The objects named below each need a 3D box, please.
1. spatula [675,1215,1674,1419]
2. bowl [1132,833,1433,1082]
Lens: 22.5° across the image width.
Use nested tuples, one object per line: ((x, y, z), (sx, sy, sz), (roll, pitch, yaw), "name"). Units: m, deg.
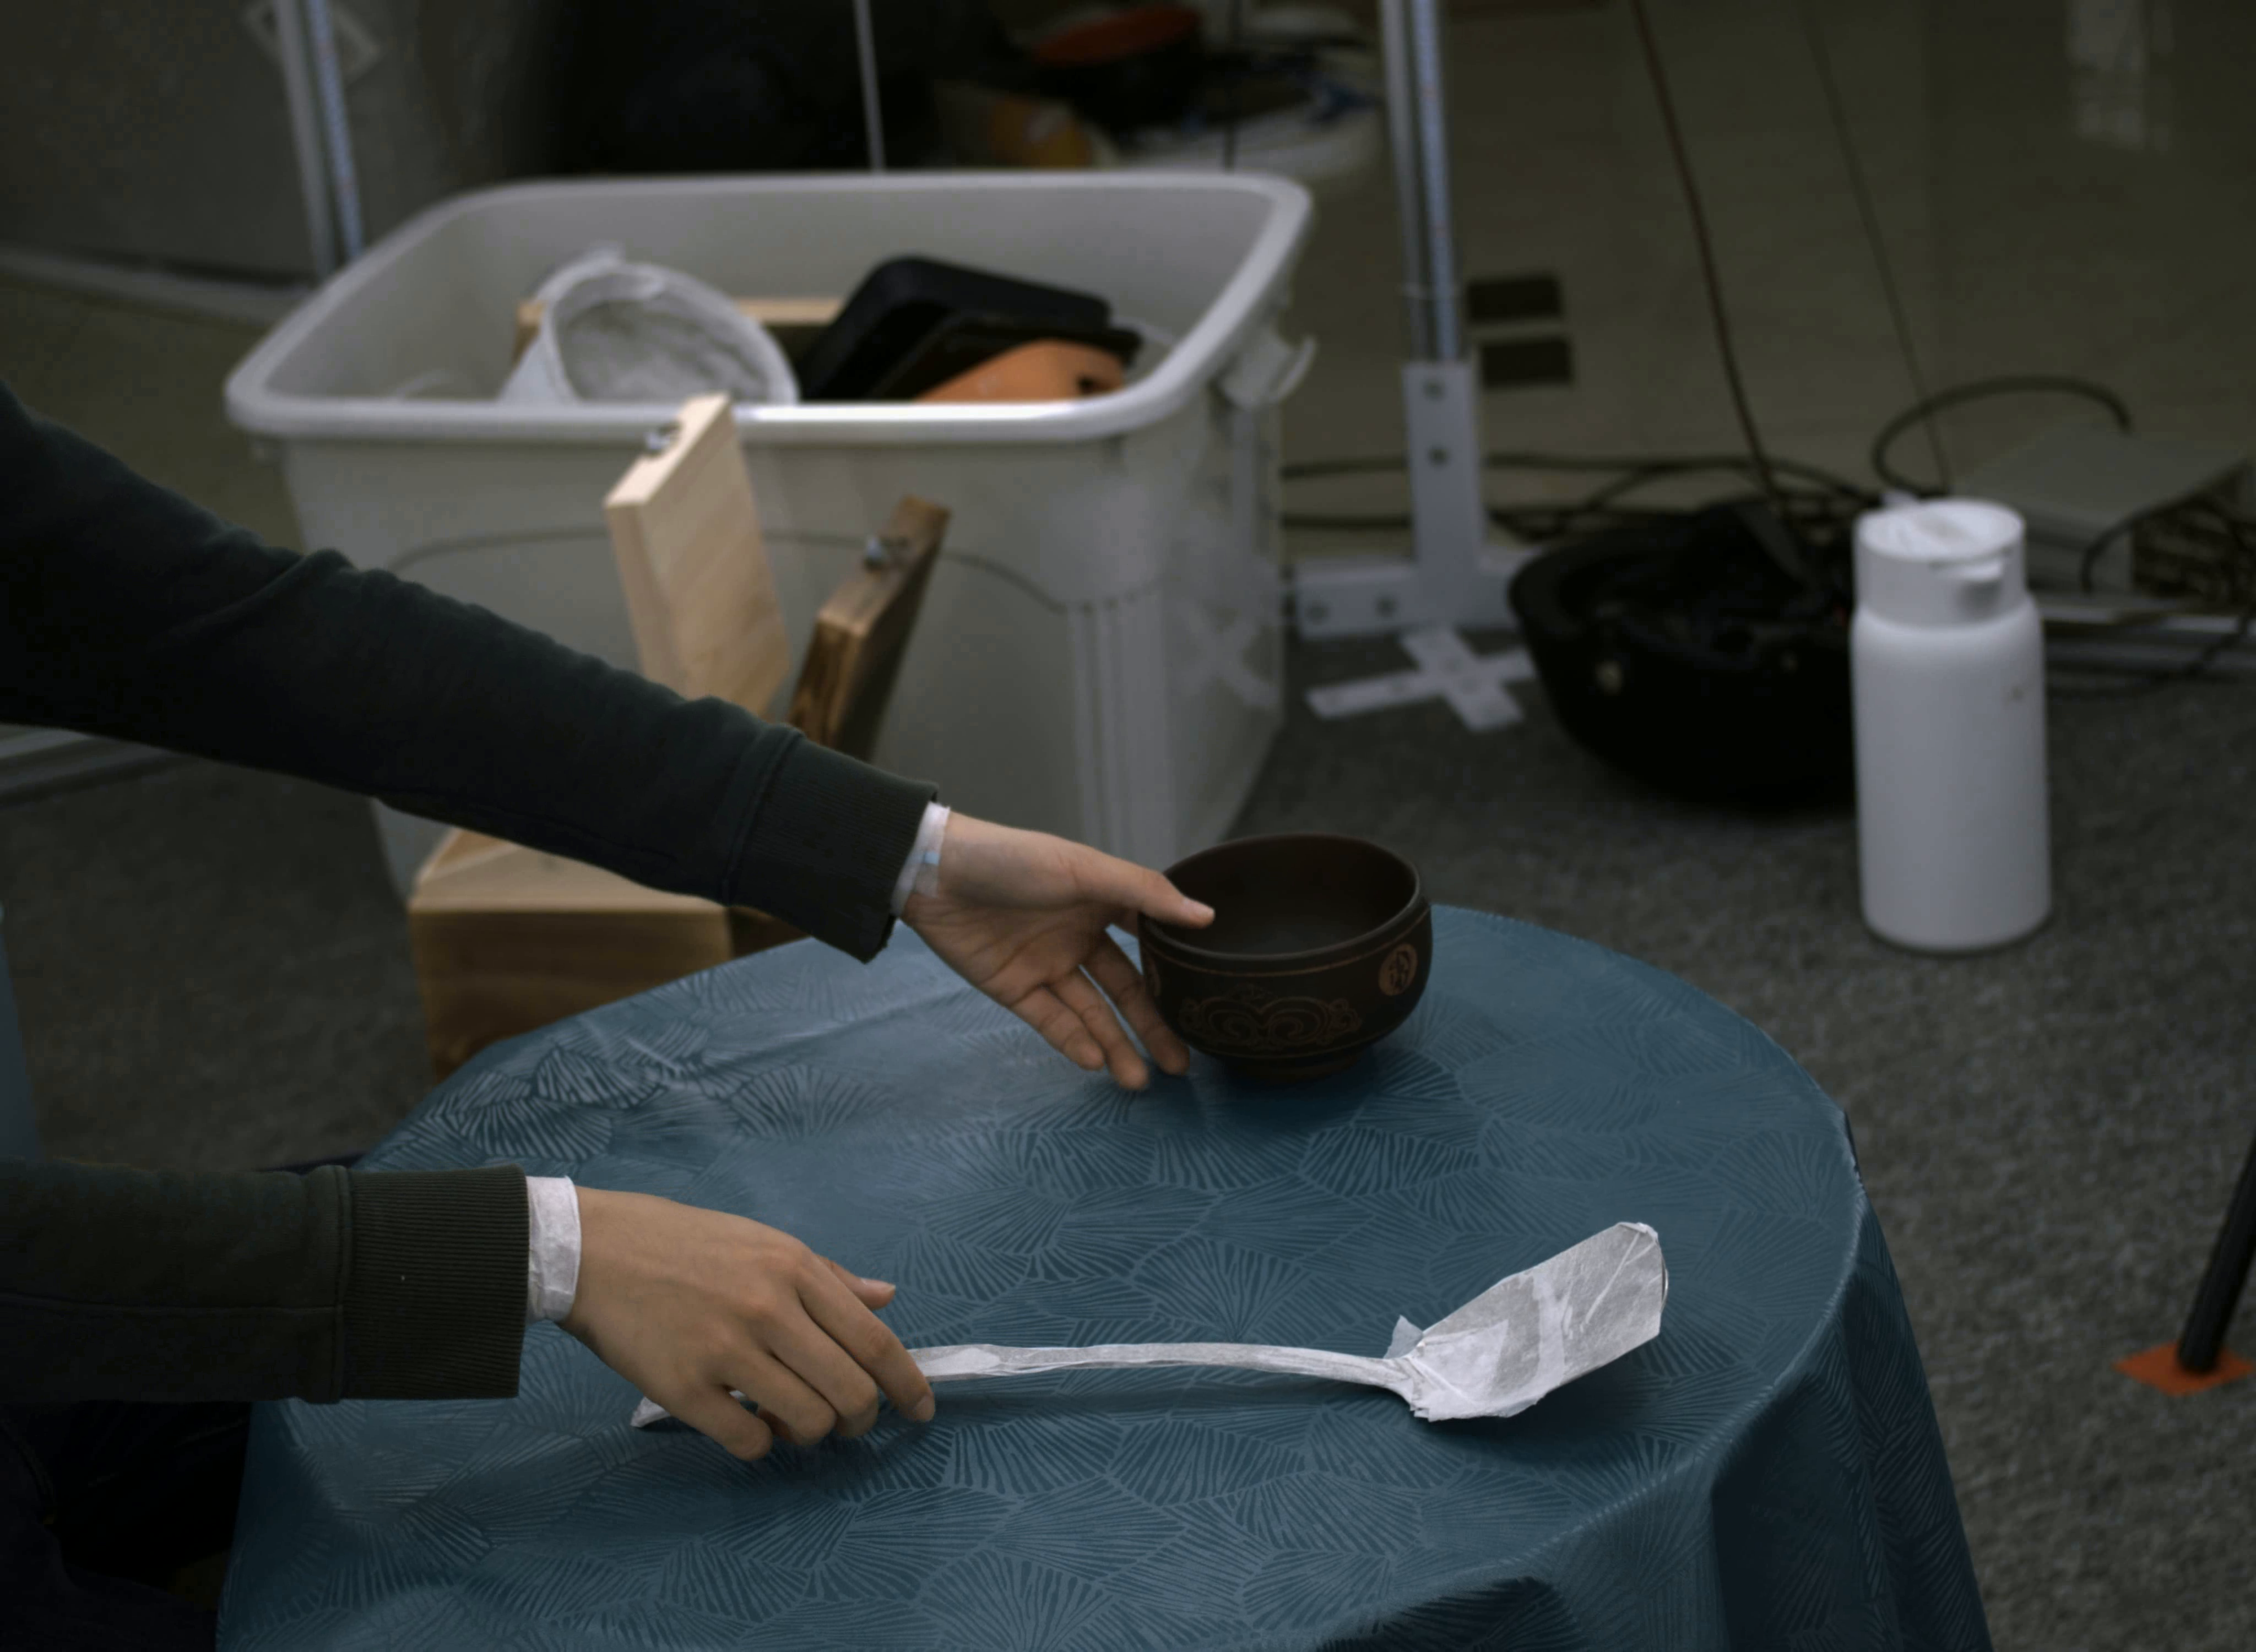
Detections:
((0.012, 0.183, 2.010), (0.364, 0.045, 0.097), (-2, 27, 8), "spatula")
((0.063, 0.057, 2.228), (0.118, 0.071, 0.116), (-7, 24, 3), "bowl")
